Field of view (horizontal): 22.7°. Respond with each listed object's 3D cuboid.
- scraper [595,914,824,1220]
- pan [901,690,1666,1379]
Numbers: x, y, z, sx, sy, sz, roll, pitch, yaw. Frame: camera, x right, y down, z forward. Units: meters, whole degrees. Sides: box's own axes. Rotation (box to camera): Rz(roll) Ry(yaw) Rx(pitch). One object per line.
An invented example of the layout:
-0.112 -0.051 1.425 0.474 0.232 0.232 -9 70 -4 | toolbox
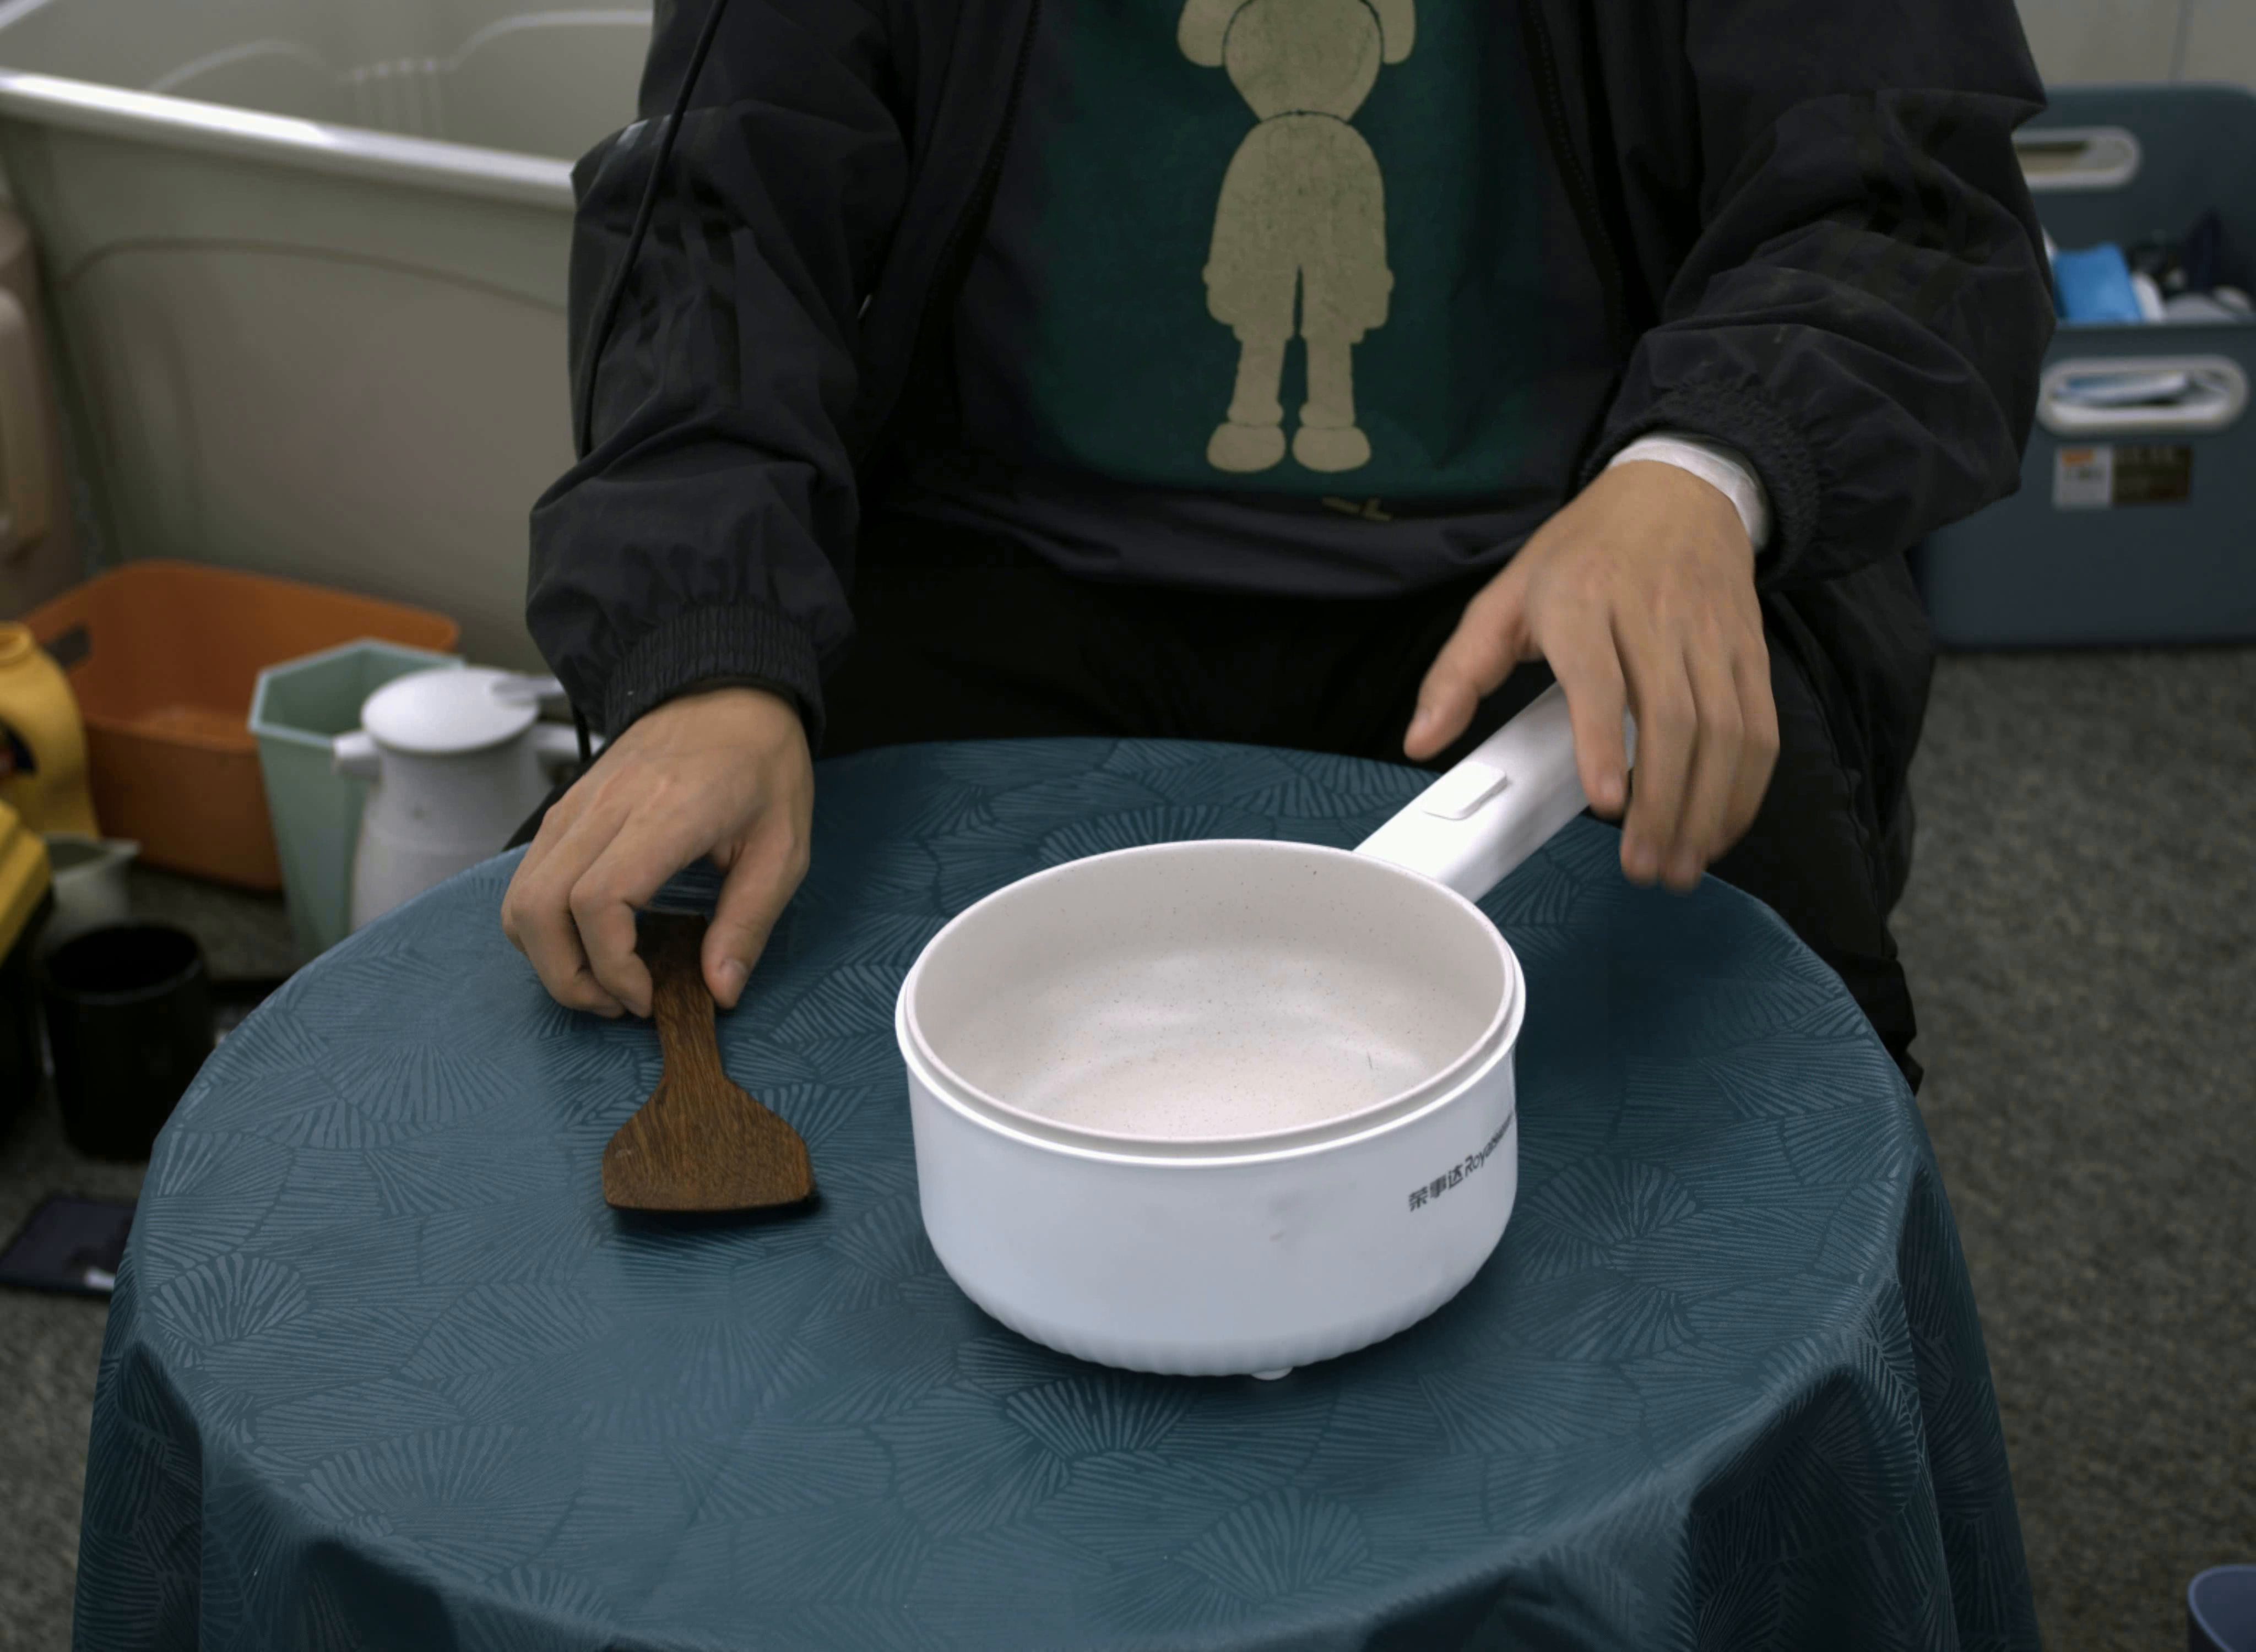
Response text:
-0.150 0.082 1.935 0.075 0.011 0.214 -2 27 -8 | scraper
0.072 0.064 1.858 0.200 0.101 0.360 14 30 31 | pan
